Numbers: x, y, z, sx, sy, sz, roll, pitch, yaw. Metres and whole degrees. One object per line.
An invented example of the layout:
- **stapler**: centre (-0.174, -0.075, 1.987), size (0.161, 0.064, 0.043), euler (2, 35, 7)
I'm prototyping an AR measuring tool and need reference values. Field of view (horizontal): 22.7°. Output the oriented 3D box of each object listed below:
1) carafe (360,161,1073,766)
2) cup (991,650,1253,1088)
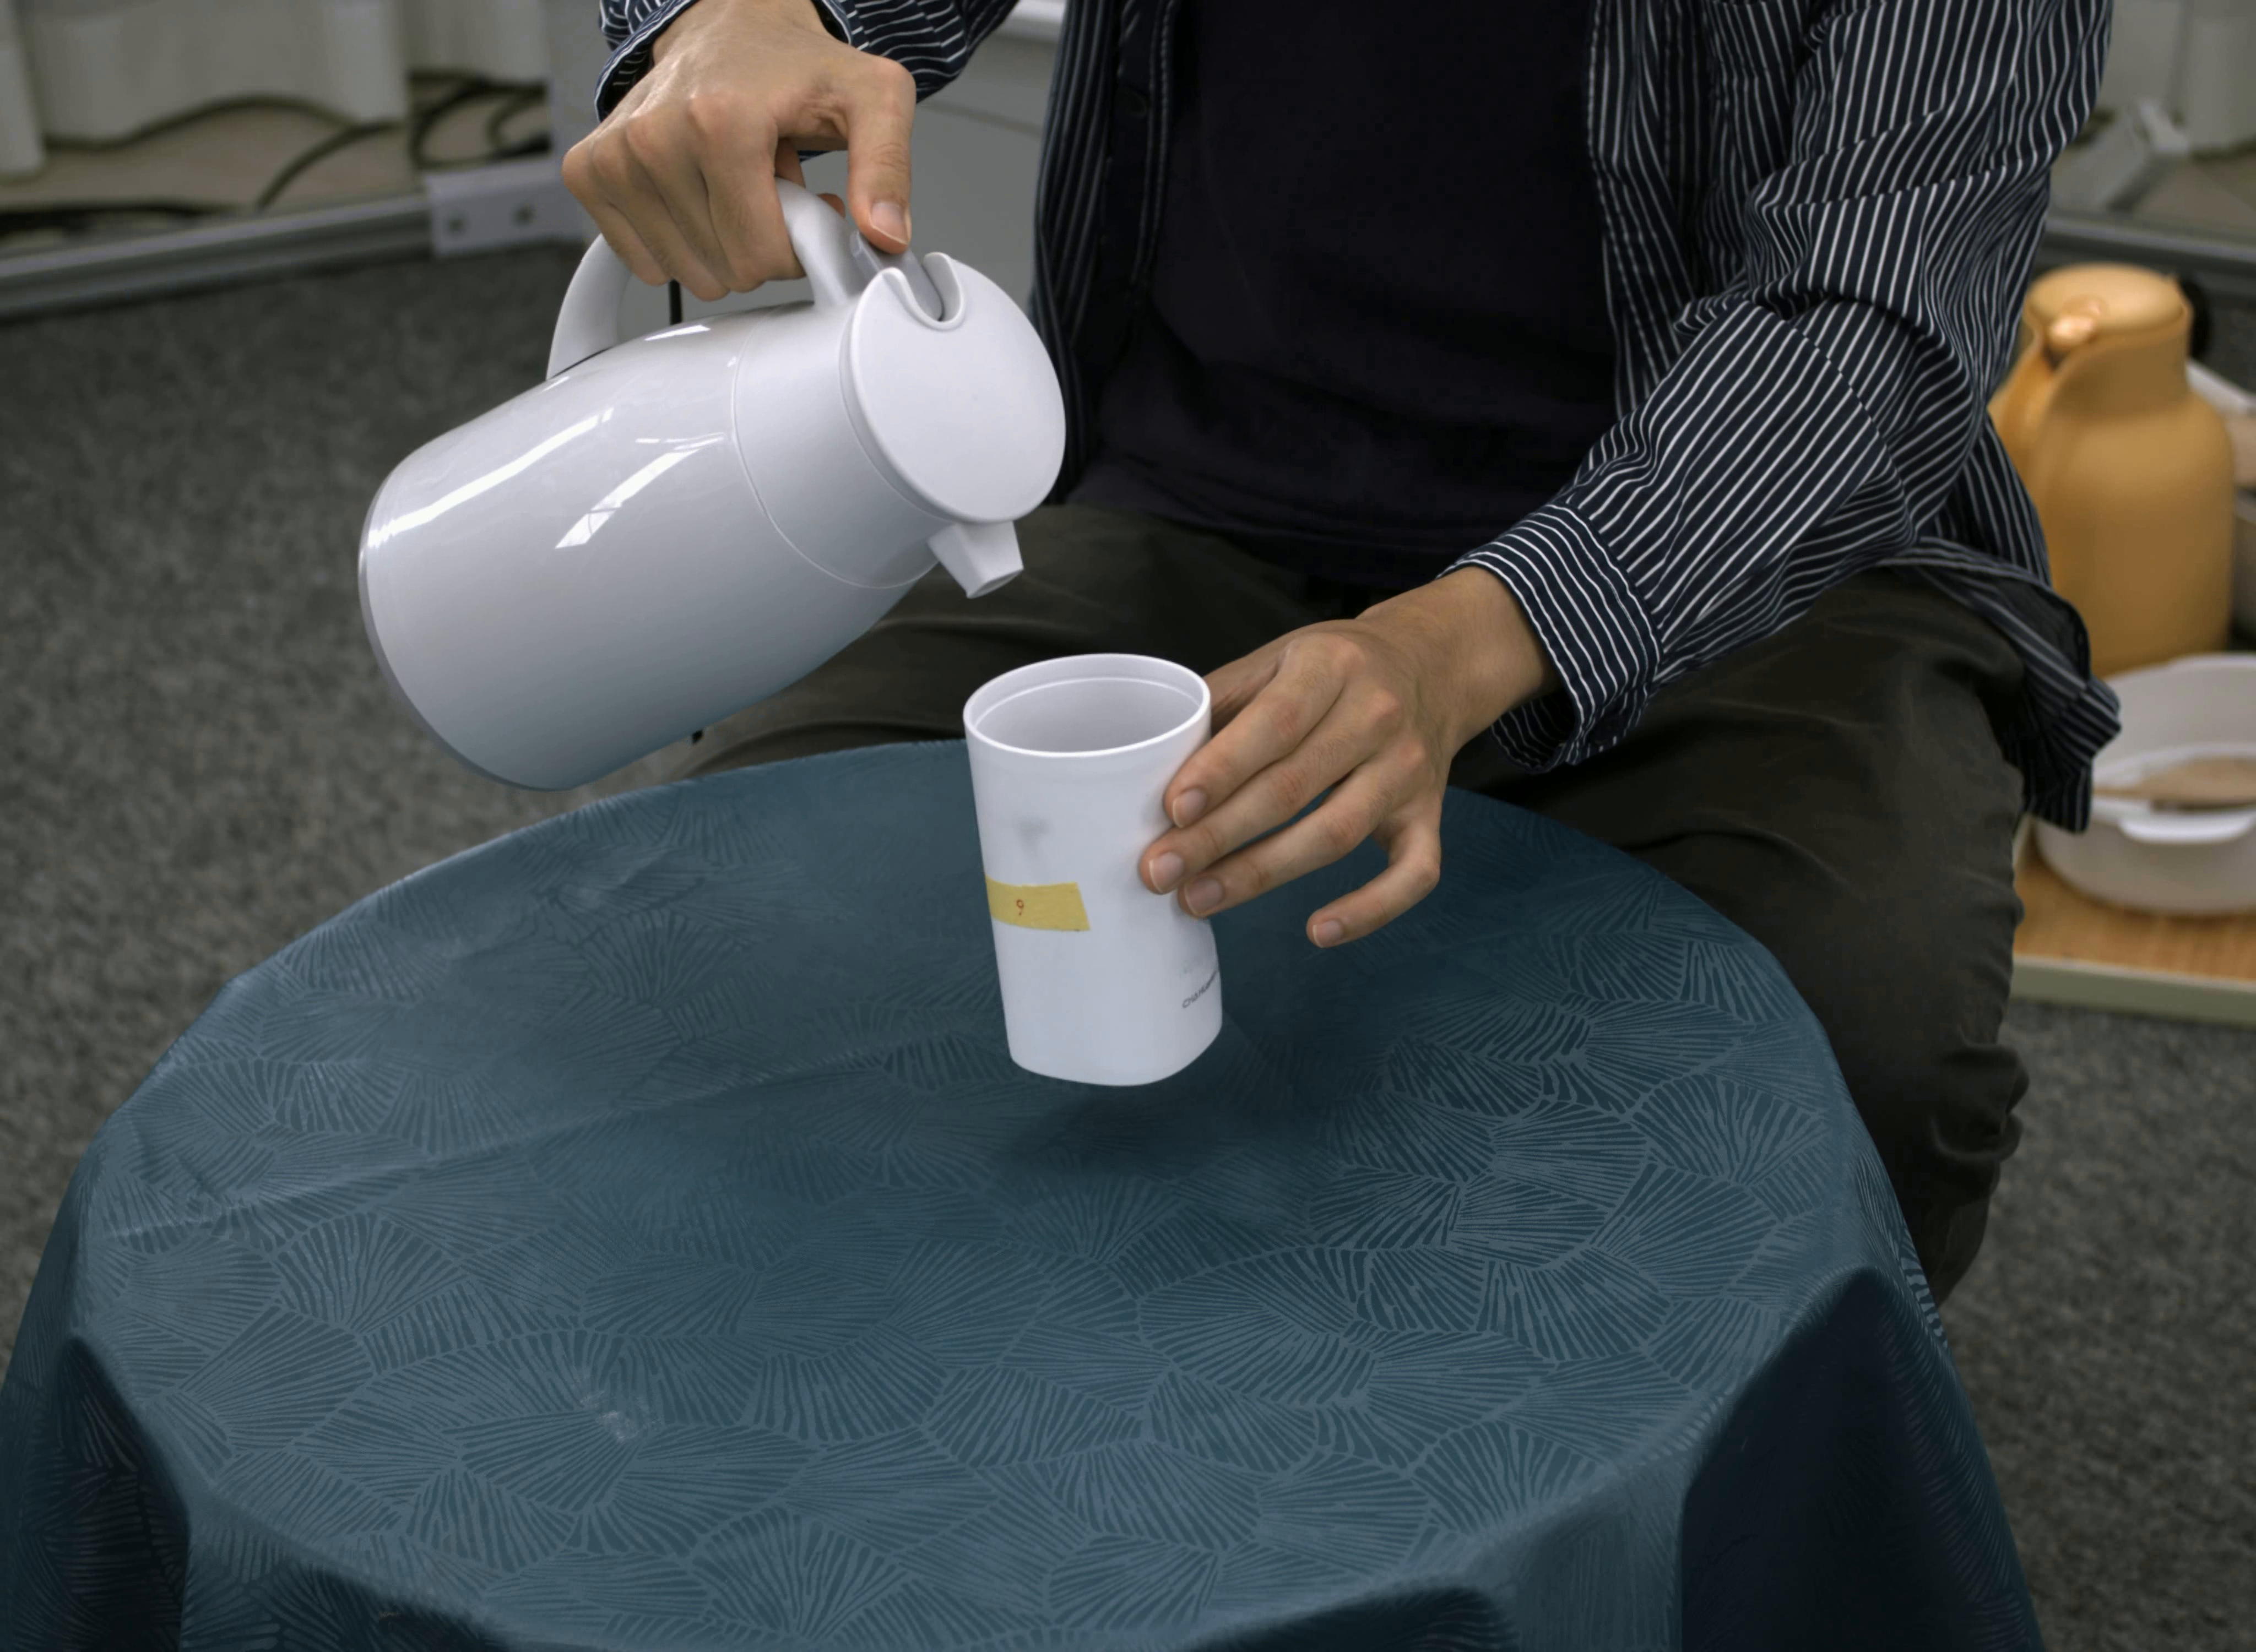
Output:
- **carafe**: centre (-0.139, -0.129, 1.876), size (0.245, 0.168, 0.134), euler (-20, 7, 43)
- **cup**: centre (0.001, 0.016, 1.844), size (0.081, 0.124, 0.083), euler (-4, 24, 2)
